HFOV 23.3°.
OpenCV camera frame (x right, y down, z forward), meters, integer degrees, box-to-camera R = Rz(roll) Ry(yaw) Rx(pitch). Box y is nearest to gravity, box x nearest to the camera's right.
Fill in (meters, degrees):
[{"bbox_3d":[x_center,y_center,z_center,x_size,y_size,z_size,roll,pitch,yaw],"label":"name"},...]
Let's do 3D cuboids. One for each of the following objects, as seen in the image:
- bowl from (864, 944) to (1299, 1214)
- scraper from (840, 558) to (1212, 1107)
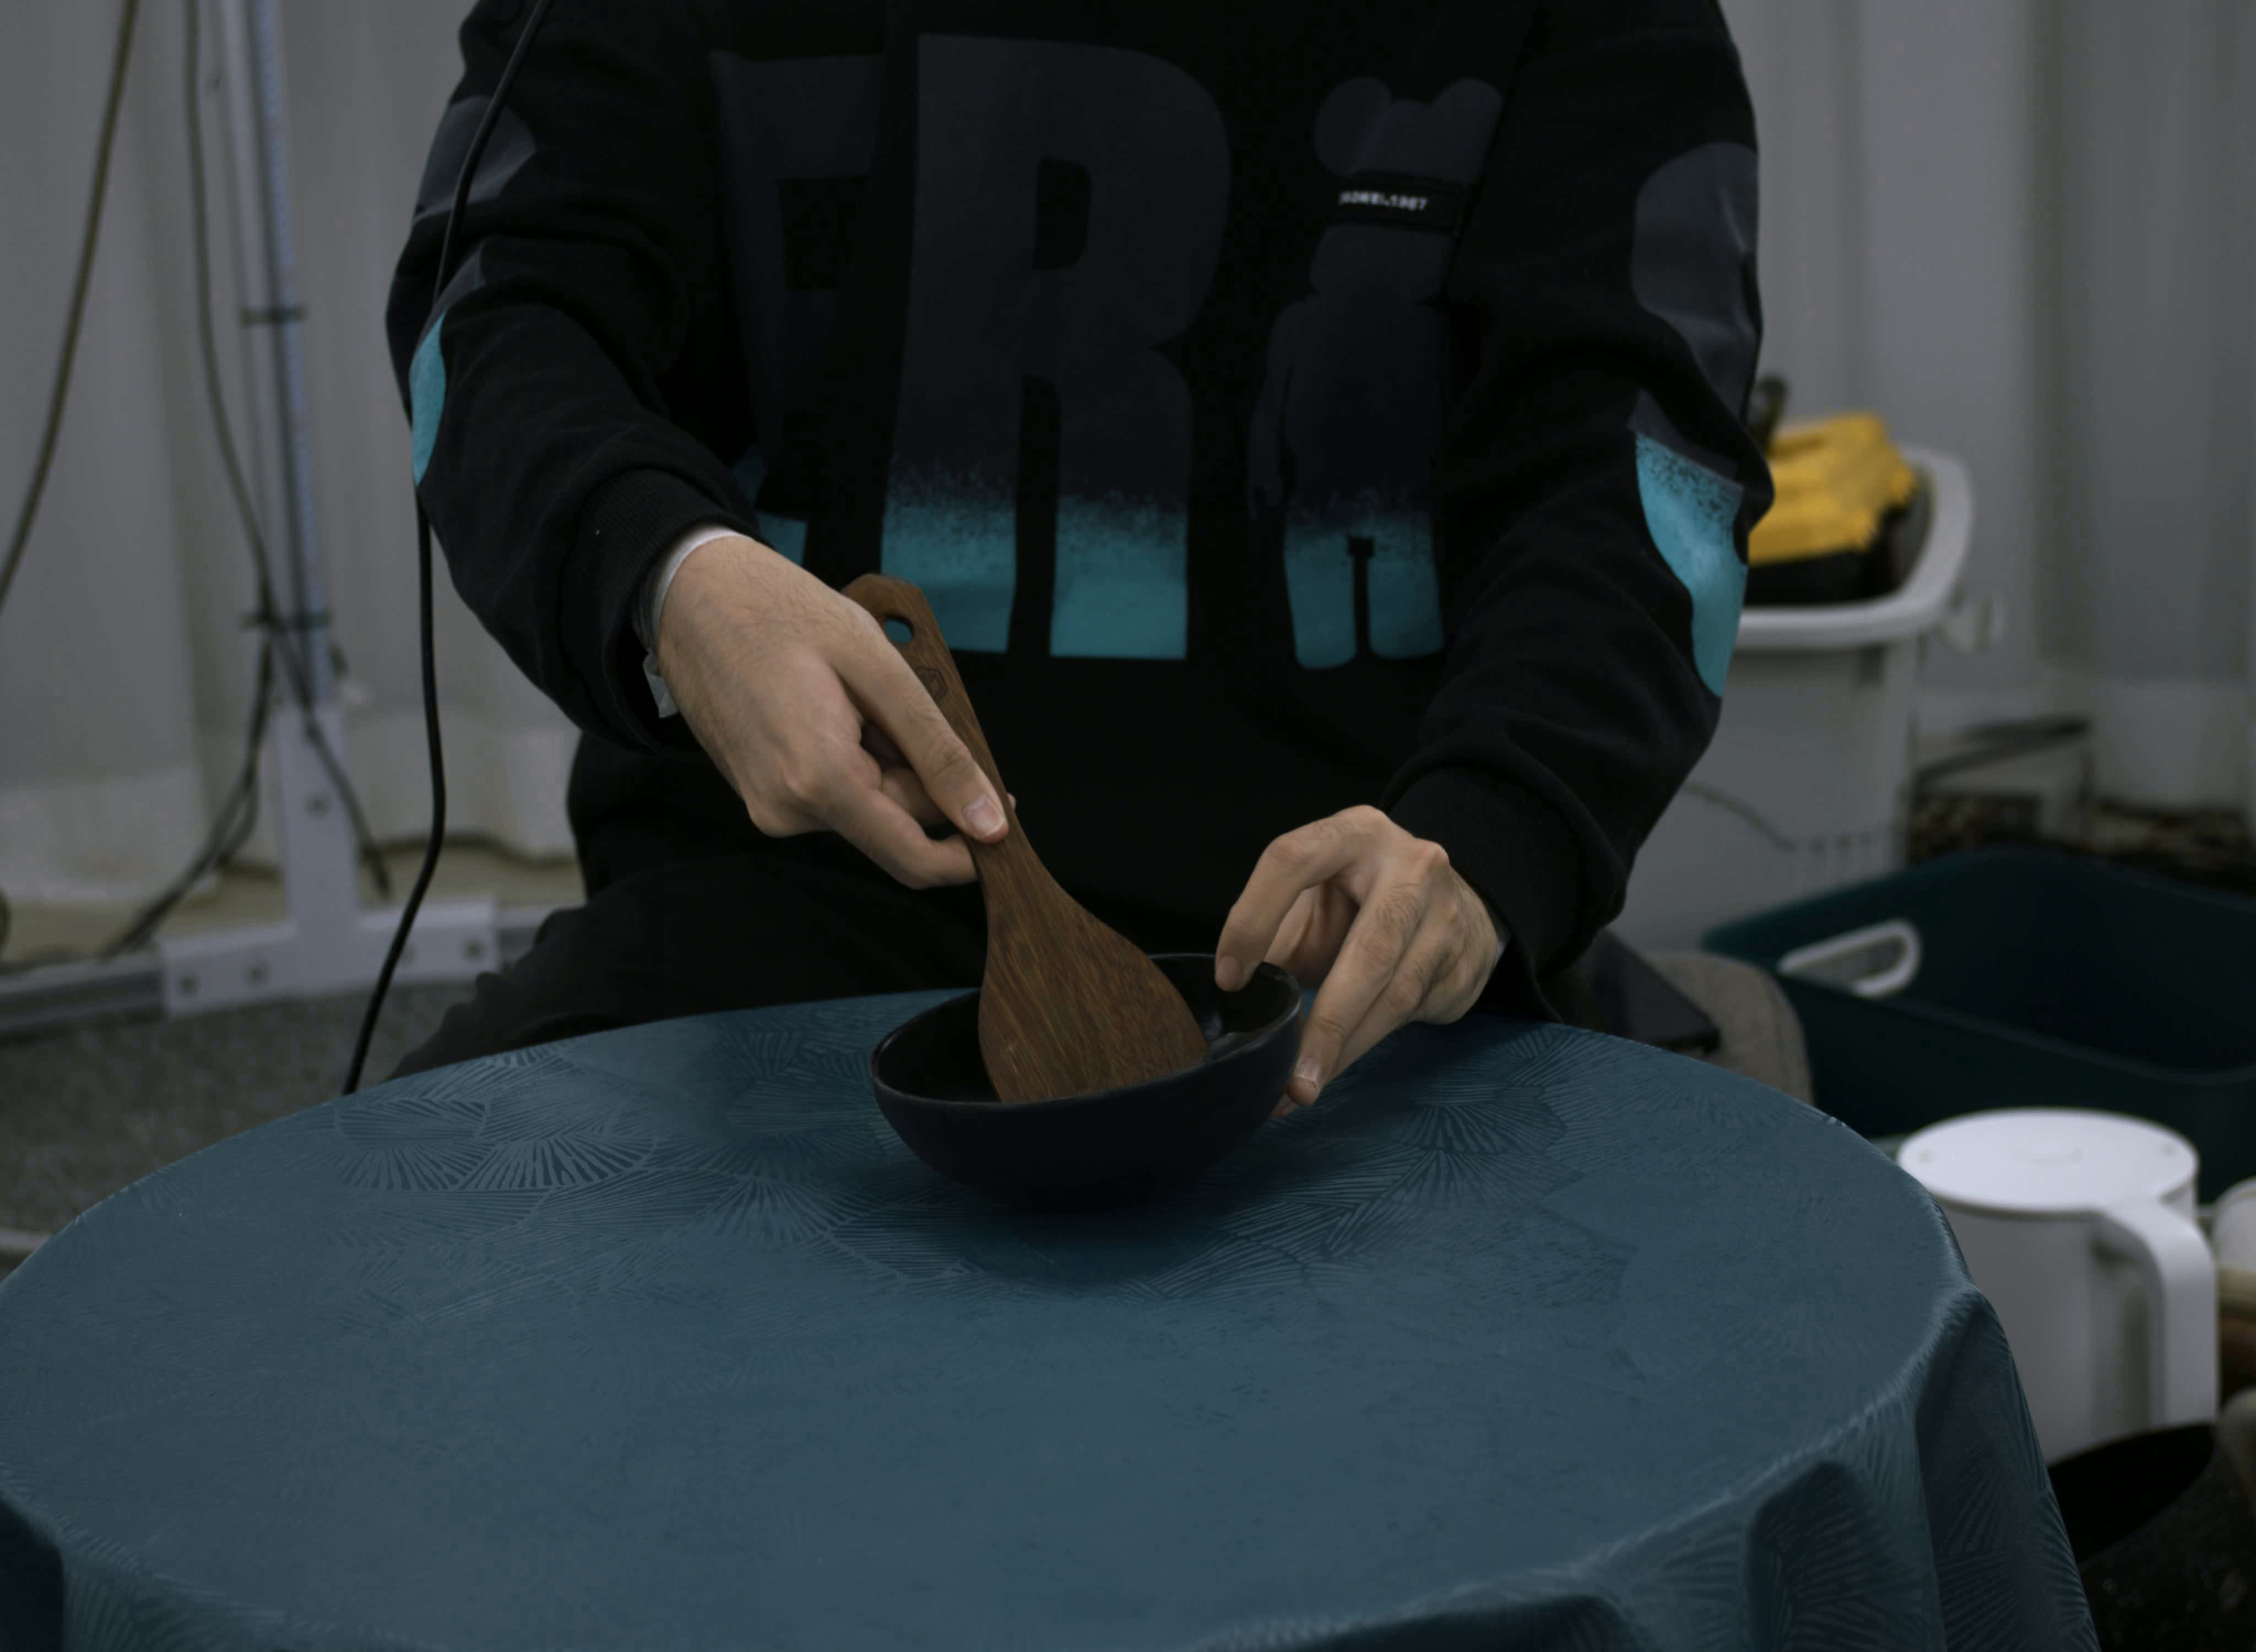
[{"bbox_3d":[-0.010,0.085,1.709,0.139,0.049,0.141,-12,16,3],"label":"bowl"},{"bbox_3d":[-0.041,0.007,1.756,0.075,0.213,0.011,-19,-18,-22],"label":"scraper"}]
